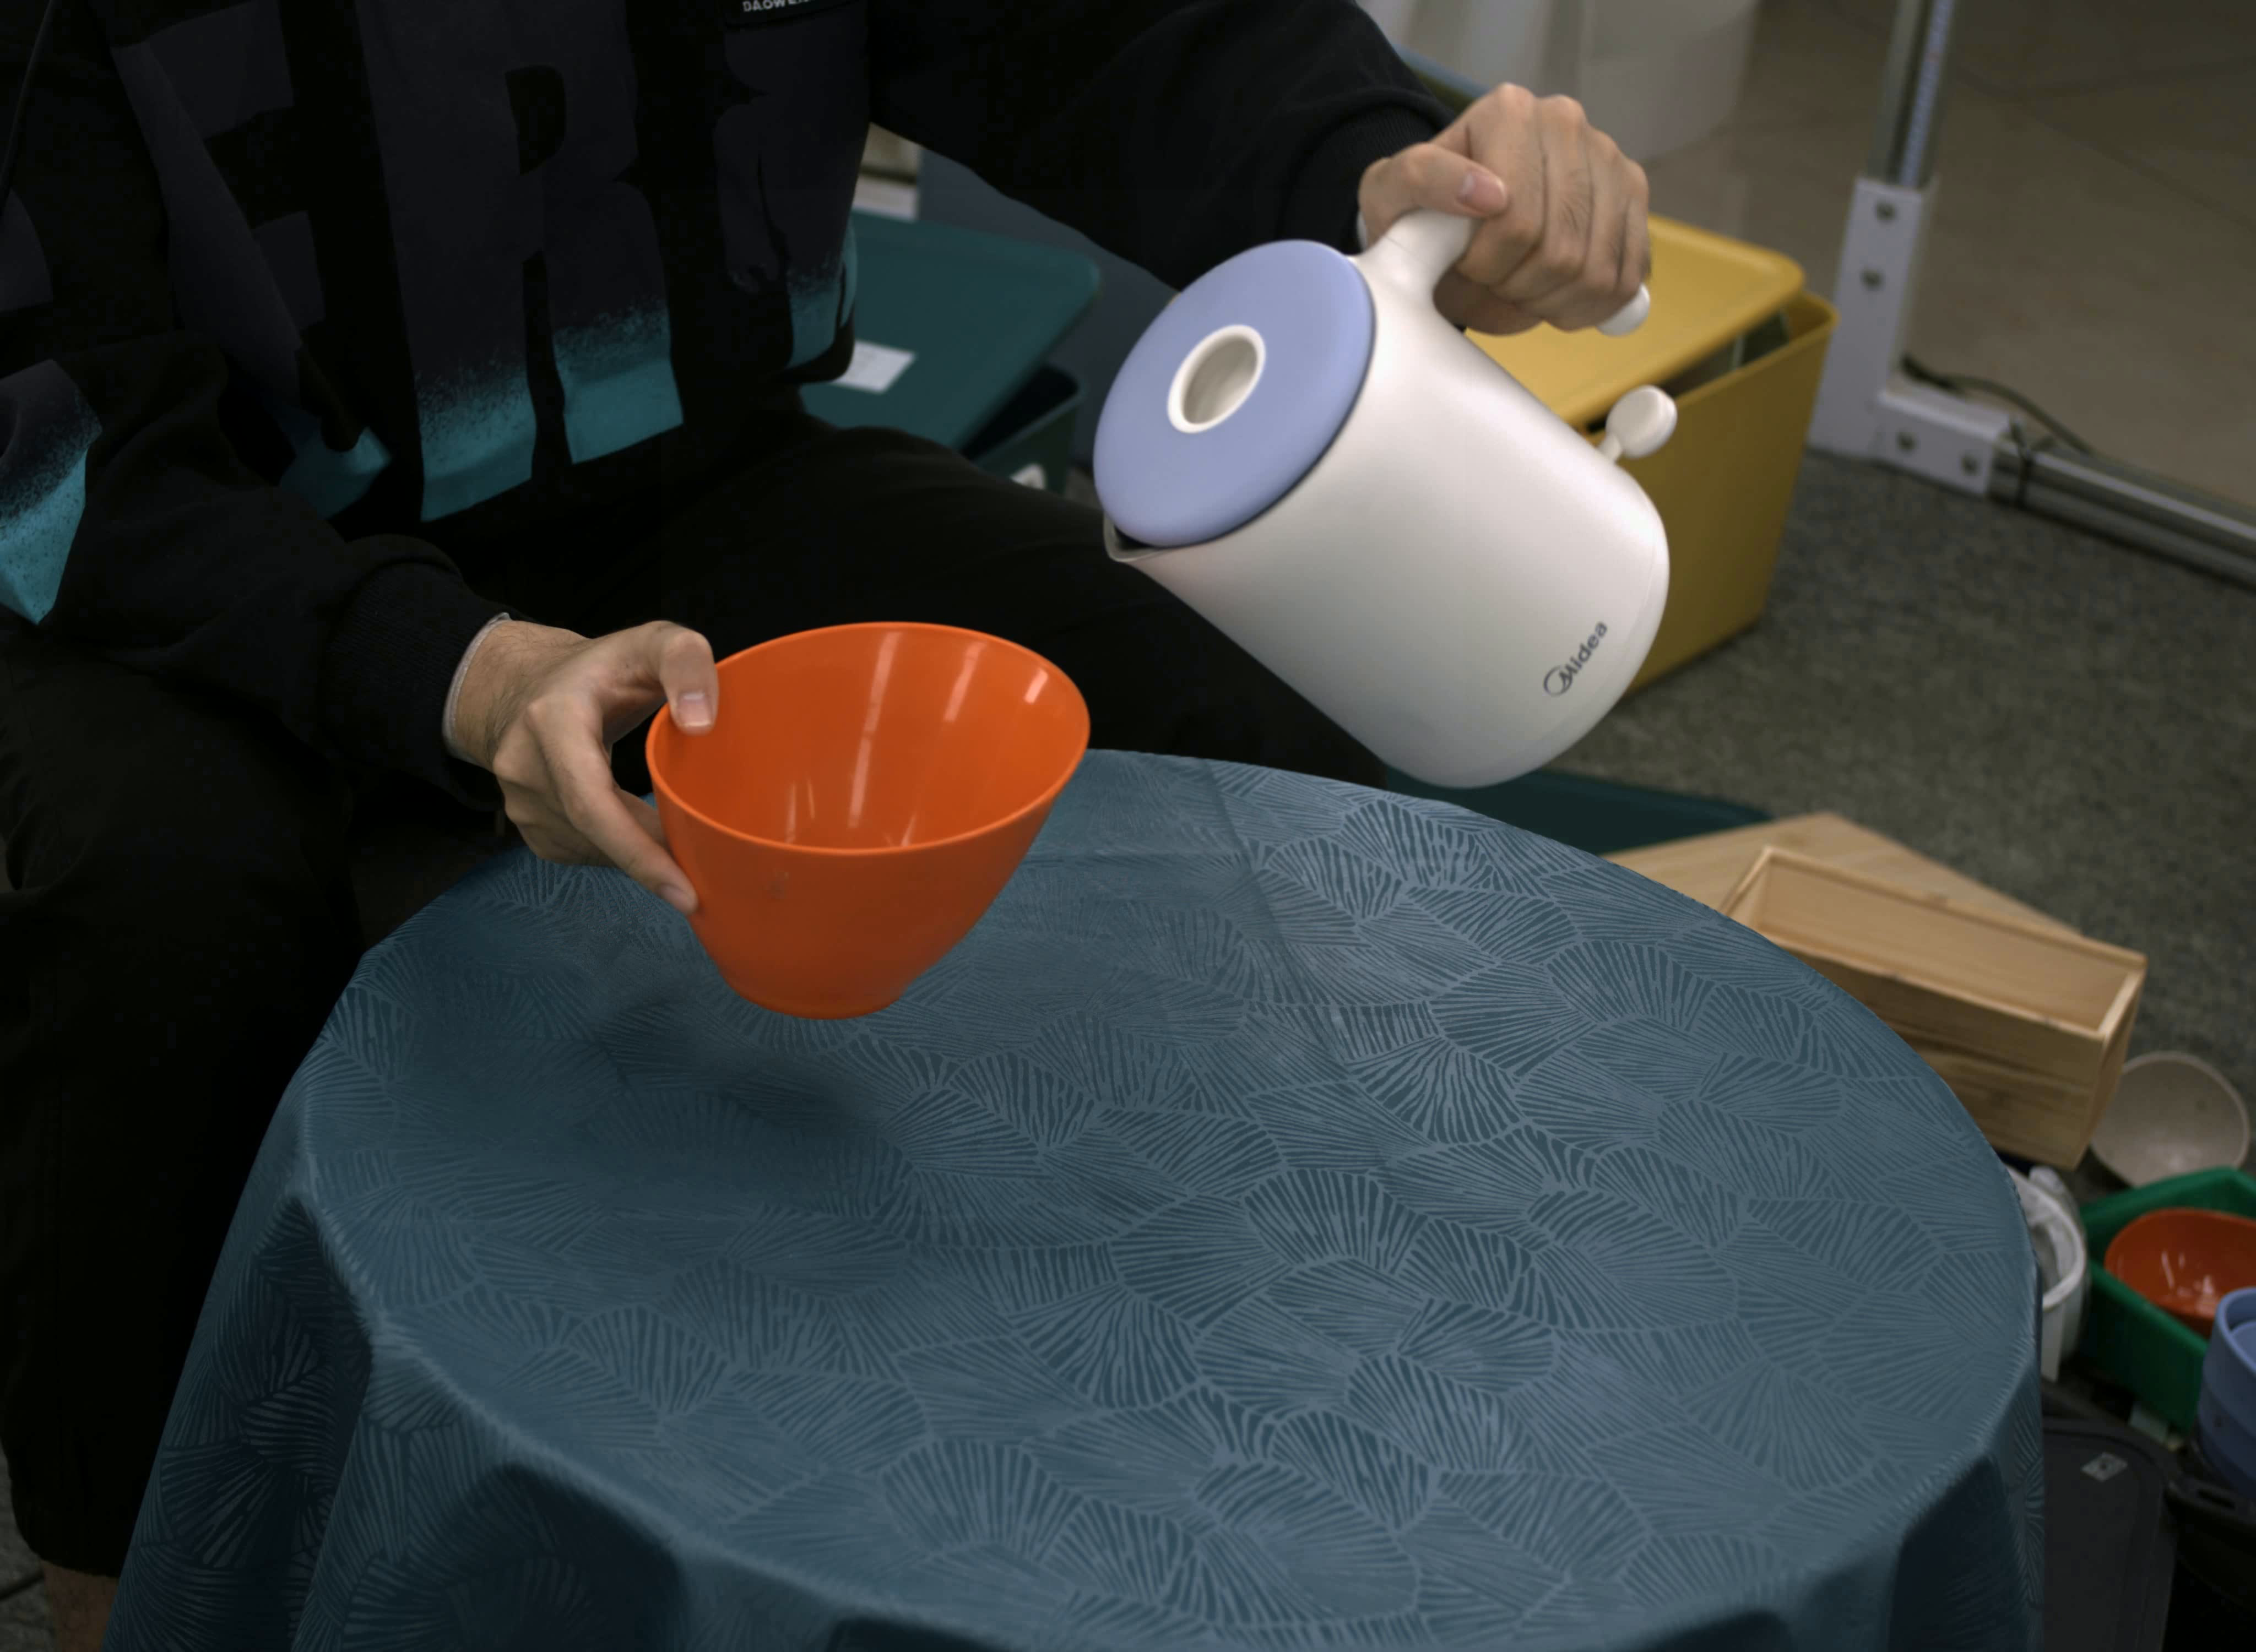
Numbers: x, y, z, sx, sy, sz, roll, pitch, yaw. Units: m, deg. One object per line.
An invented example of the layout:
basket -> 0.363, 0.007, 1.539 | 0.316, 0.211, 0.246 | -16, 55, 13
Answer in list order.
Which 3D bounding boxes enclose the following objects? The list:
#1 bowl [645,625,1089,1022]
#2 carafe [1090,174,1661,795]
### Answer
bowl -> -0.093, 0.005, 1.801 | 0.147, 0.104, 0.149 | 7, 29, -4
carafe -> 0.100, -0.125, 1.822 | 0.181, 0.191, 0.133 | 41, -4, -38
